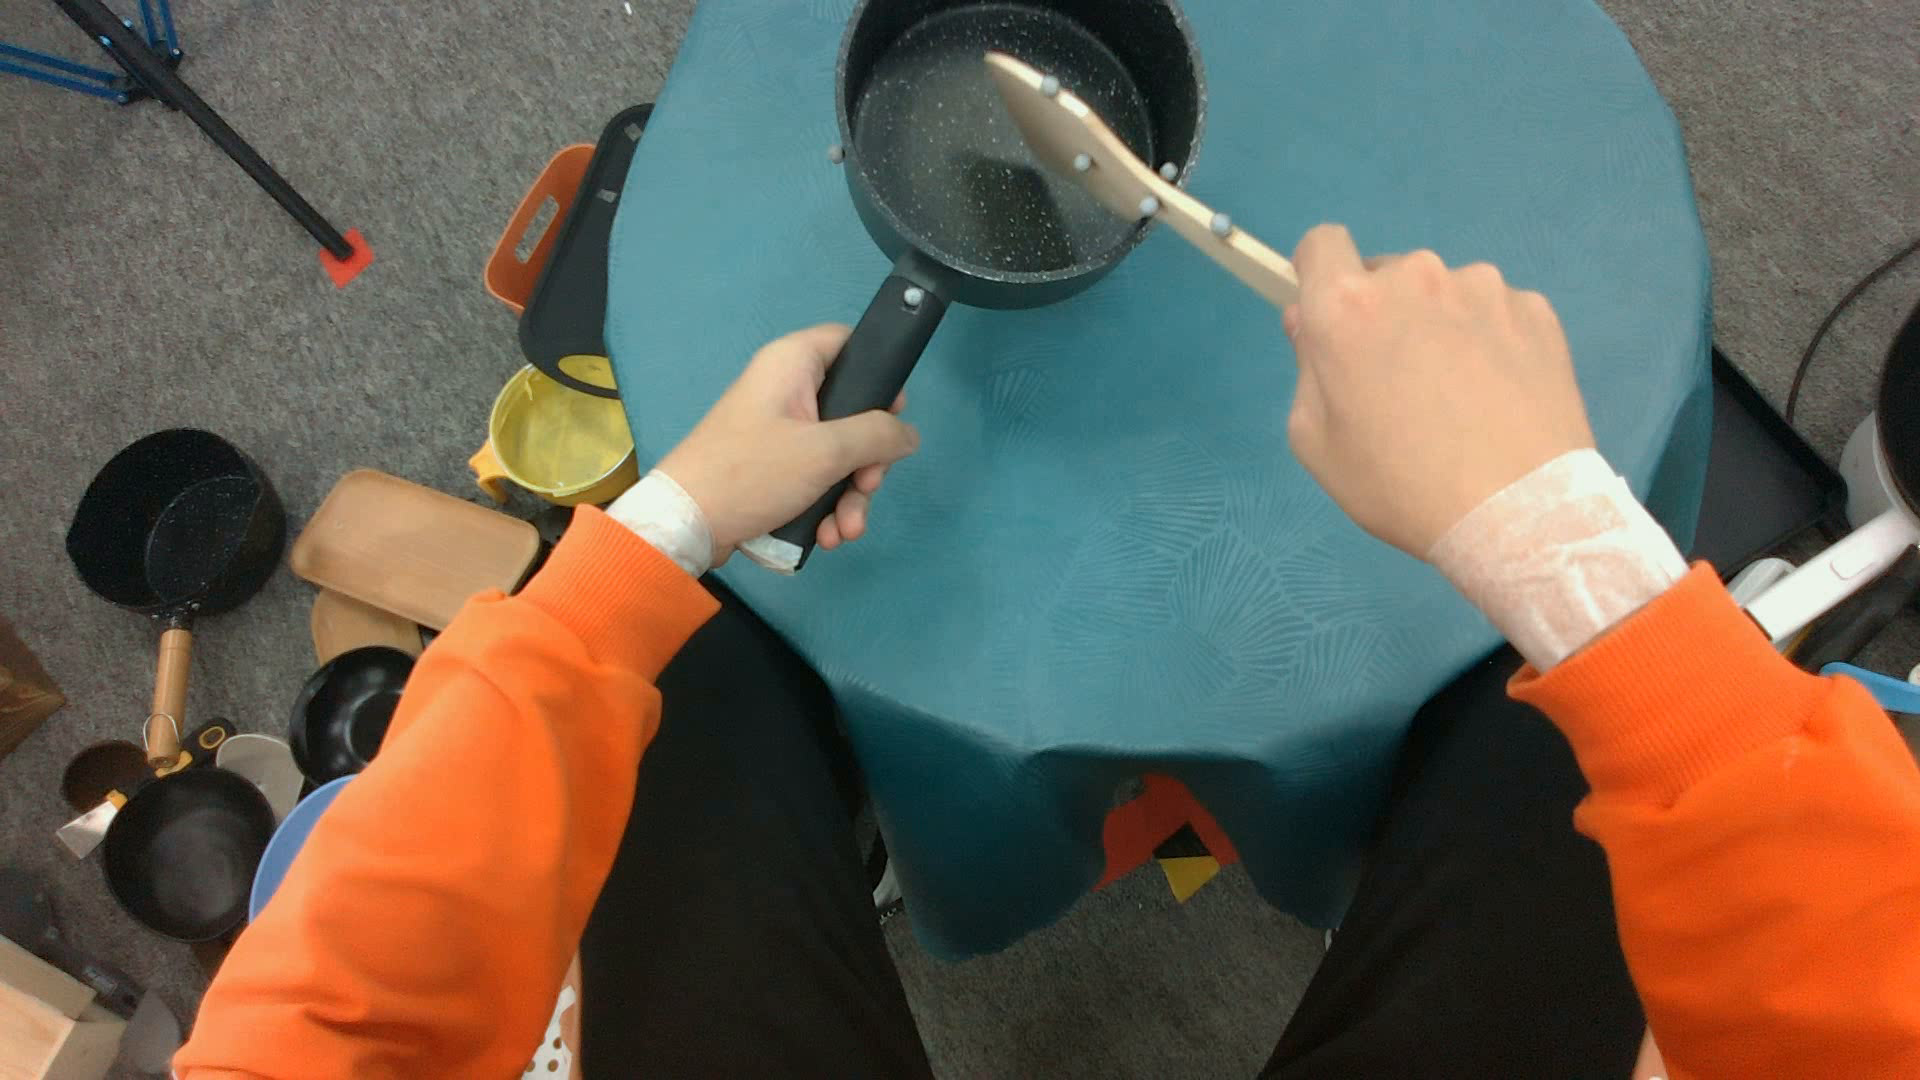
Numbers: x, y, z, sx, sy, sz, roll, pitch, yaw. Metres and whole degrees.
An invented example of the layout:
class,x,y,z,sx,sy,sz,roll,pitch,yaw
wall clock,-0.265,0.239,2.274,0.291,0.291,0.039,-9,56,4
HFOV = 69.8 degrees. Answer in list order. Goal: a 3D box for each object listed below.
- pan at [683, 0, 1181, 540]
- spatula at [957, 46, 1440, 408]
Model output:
class,x,y,z,sx,sy,sz,roll,pitch,yaw
pan,-0.025,-0.141,0.650,0.172,0.086,0.329,31,81,-2
spatula,0.088,-0.134,0.568,0.010,0.072,0.293,-40,49,-3
